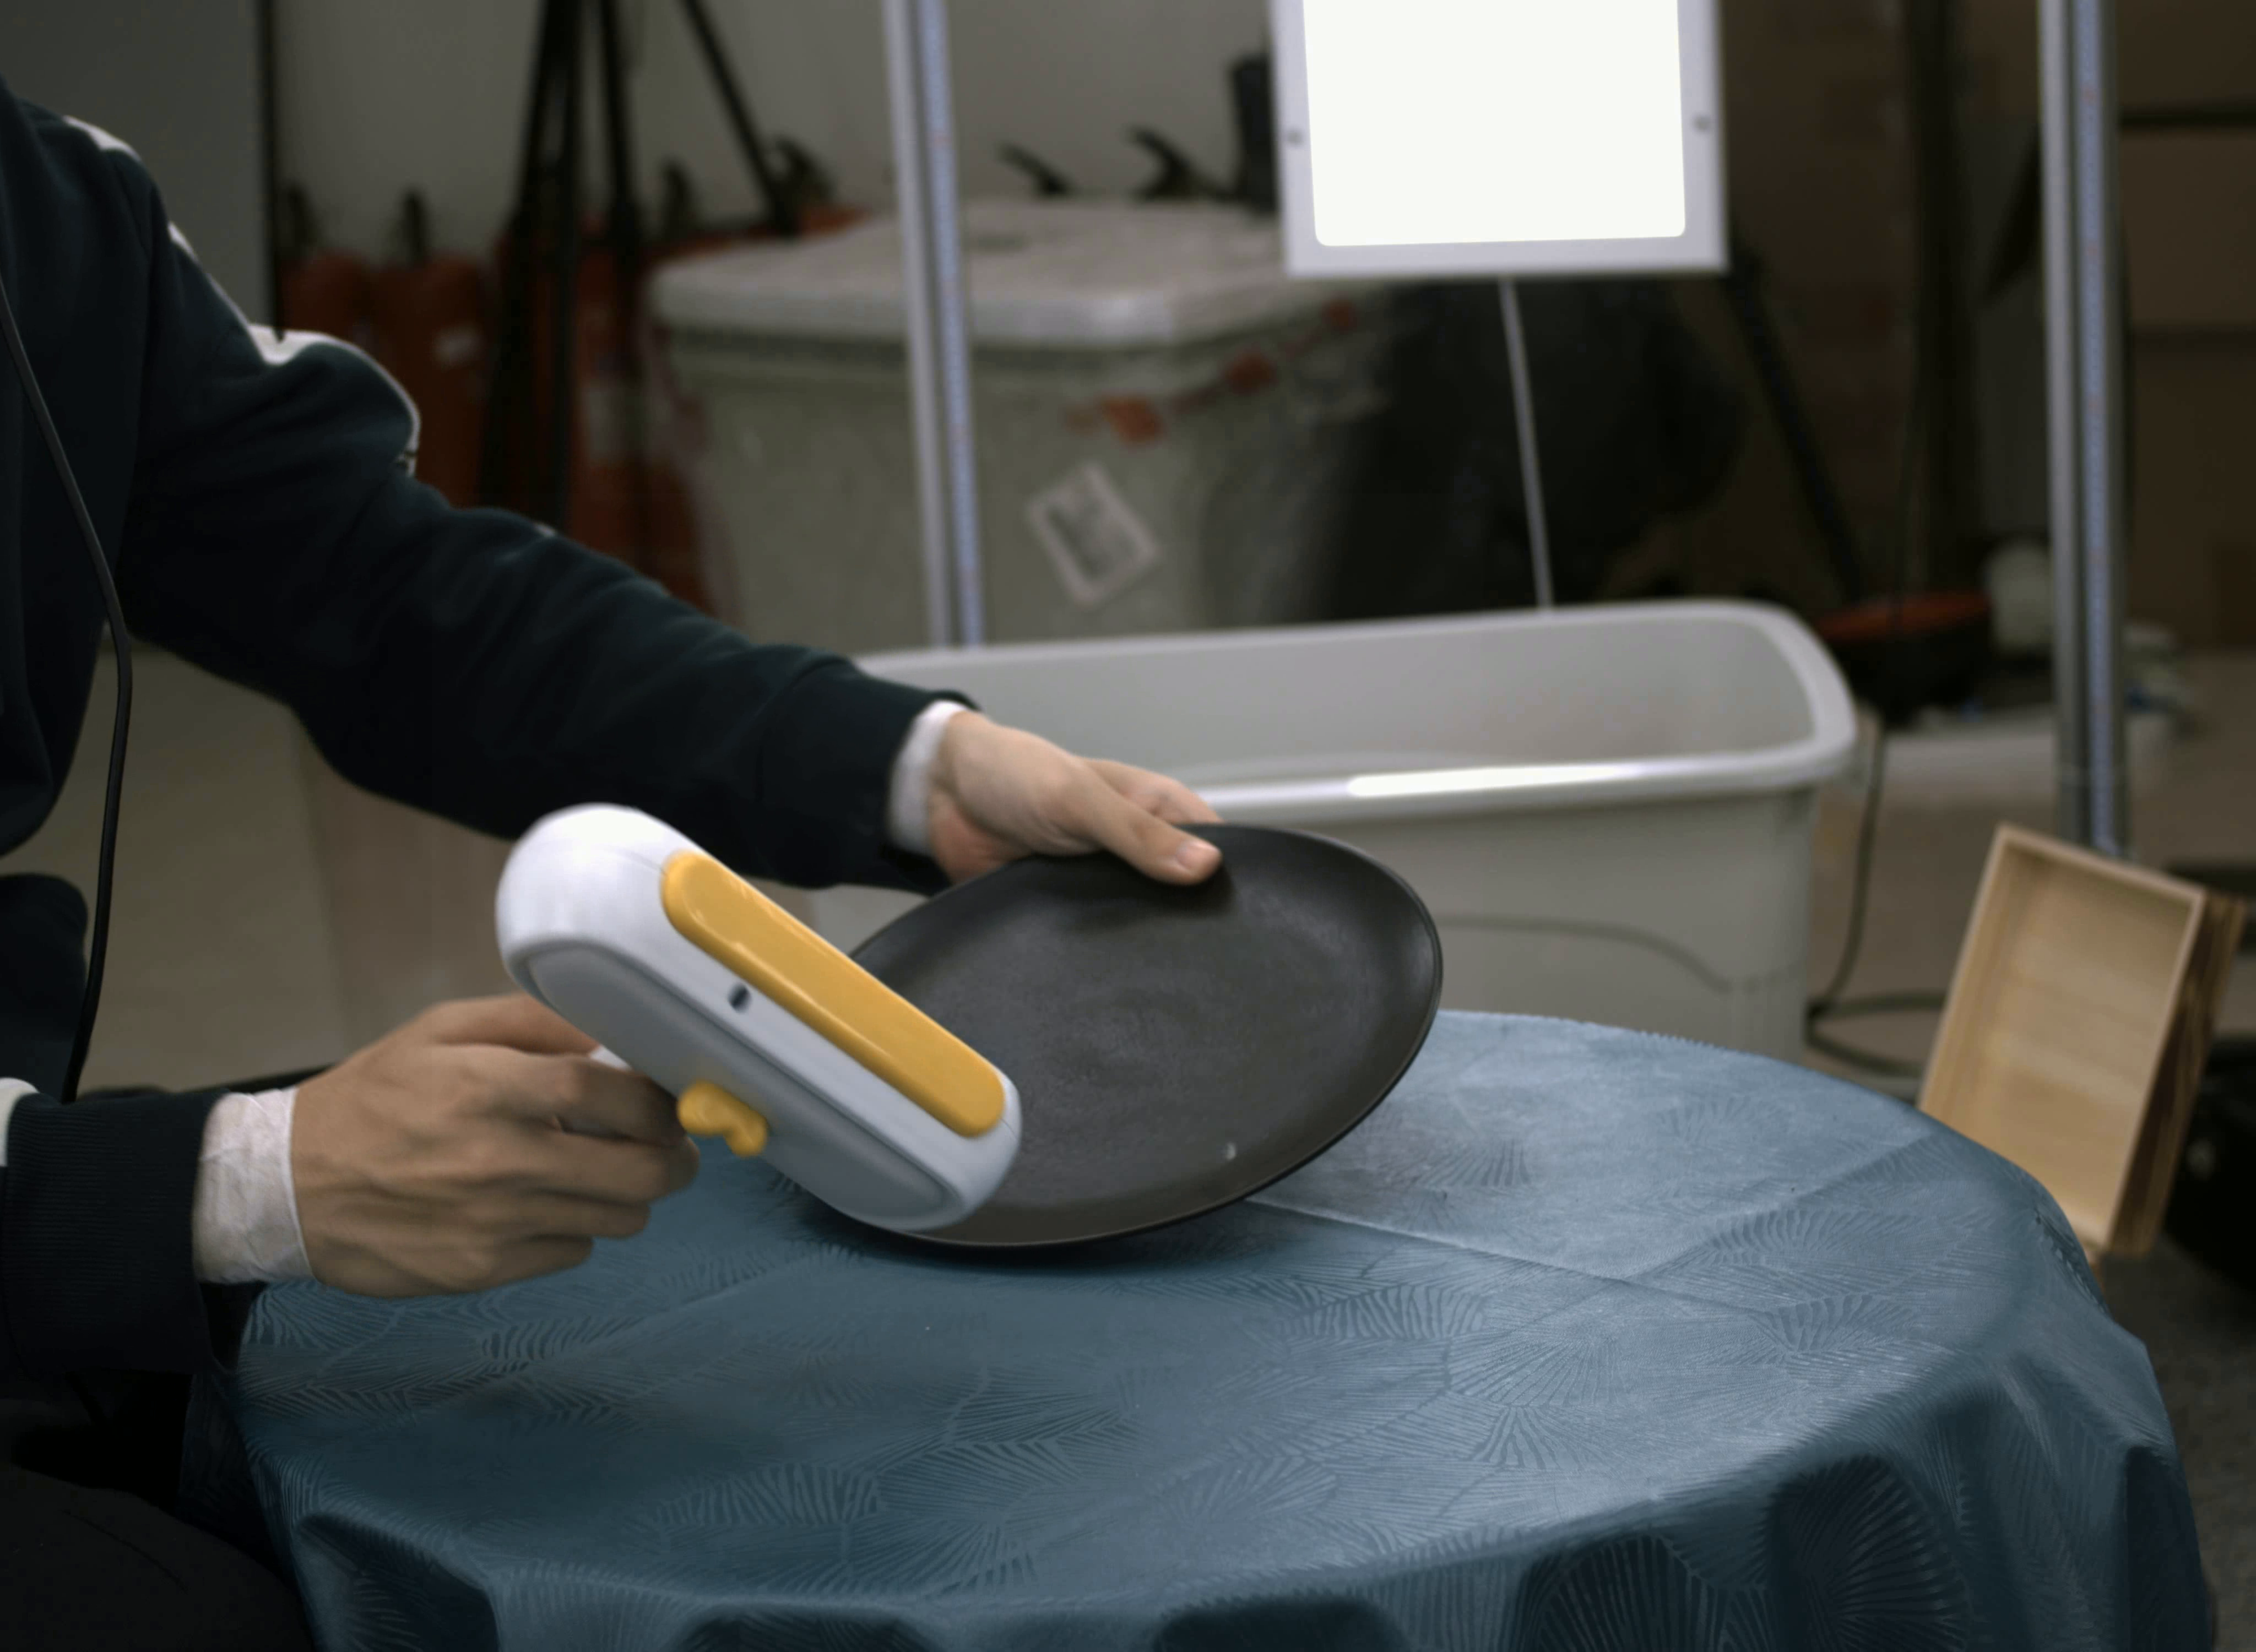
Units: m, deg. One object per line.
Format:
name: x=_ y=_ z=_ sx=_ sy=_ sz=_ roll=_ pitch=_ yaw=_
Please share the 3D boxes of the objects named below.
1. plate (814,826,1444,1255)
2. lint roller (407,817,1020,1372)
plate: x=-0.007 y=0.079 z=1.916 sx=0.245 sy=0.023 sz=0.244 roll=-13 pitch=32 yaw=7
lint roller: x=-0.155 y=0.099 z=1.703 sx=0.196 sy=0.189 sz=0.074 roll=-38 pitch=36 yaw=33
